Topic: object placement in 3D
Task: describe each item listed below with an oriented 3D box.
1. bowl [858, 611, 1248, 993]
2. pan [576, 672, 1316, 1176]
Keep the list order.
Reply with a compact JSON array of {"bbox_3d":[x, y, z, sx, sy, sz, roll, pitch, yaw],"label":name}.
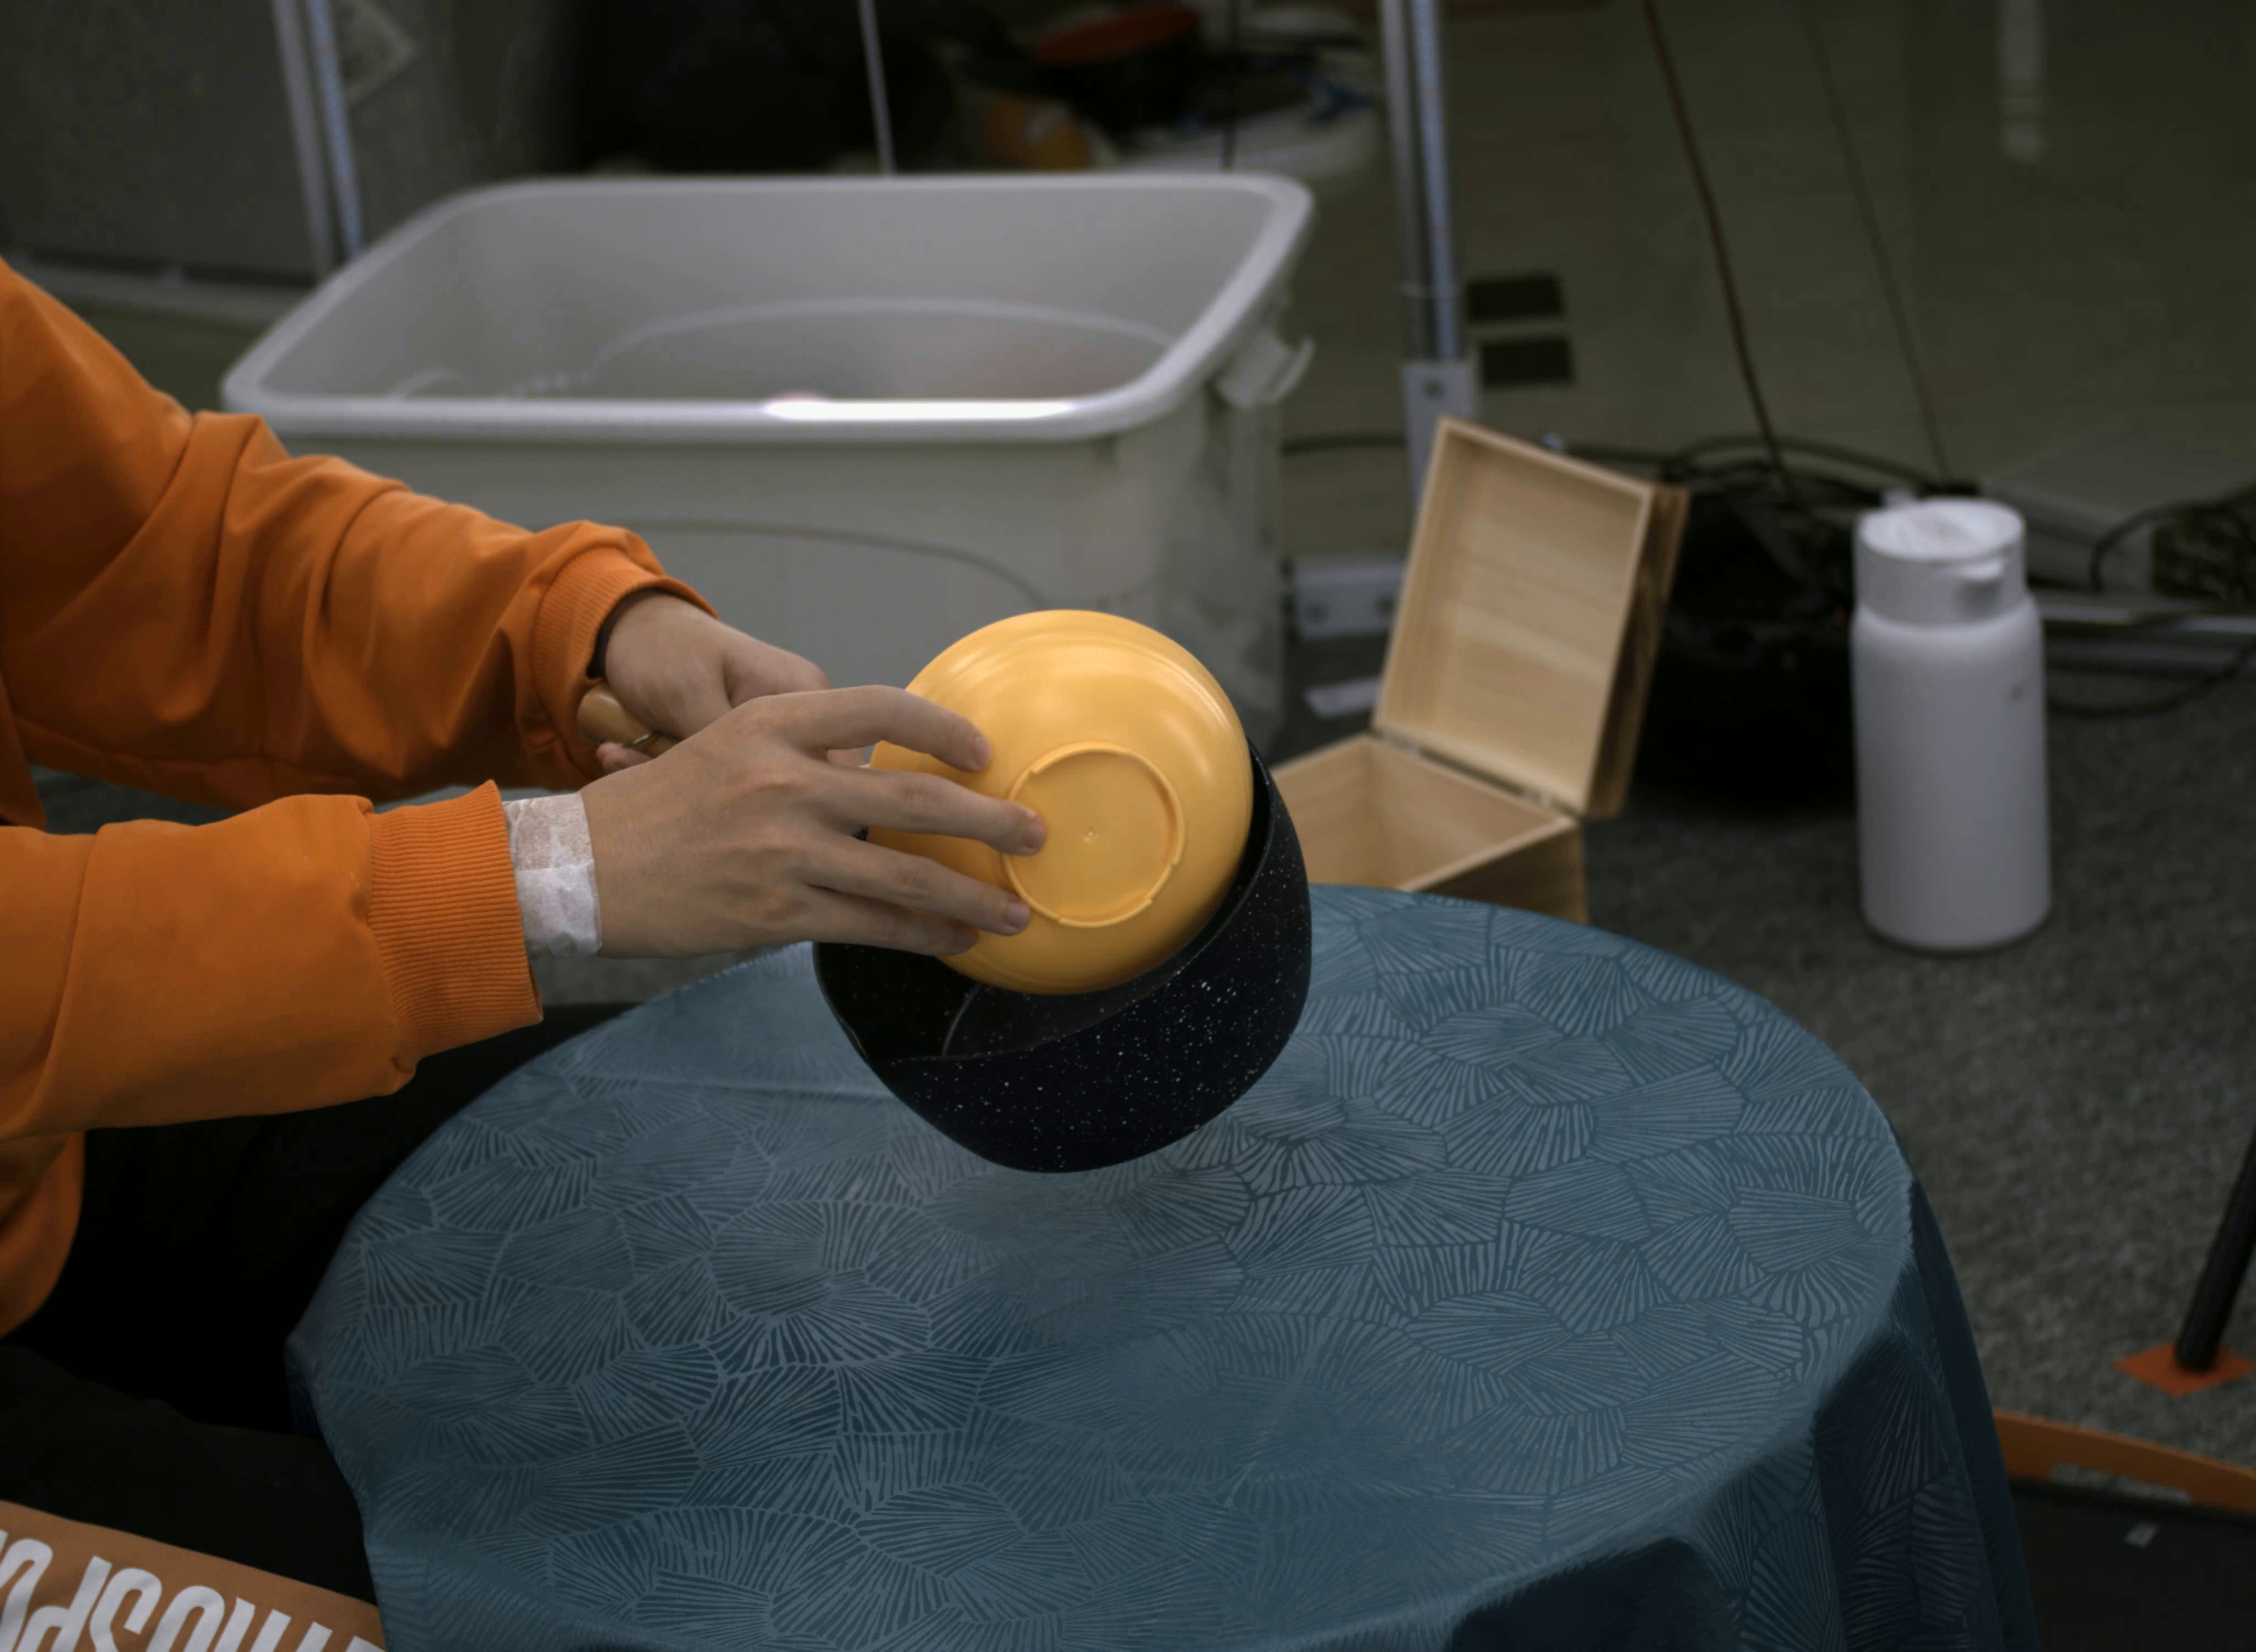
[{"bbox_3d":[-0.021,0.000,2.032,0.145,0.147,0.059,-11,20,-10],"label":"bowl"},{"bbox_3d":[-0.077,0.021,2.150,0.340,0.110,0.205,18,58,40],"label":"pan"}]
